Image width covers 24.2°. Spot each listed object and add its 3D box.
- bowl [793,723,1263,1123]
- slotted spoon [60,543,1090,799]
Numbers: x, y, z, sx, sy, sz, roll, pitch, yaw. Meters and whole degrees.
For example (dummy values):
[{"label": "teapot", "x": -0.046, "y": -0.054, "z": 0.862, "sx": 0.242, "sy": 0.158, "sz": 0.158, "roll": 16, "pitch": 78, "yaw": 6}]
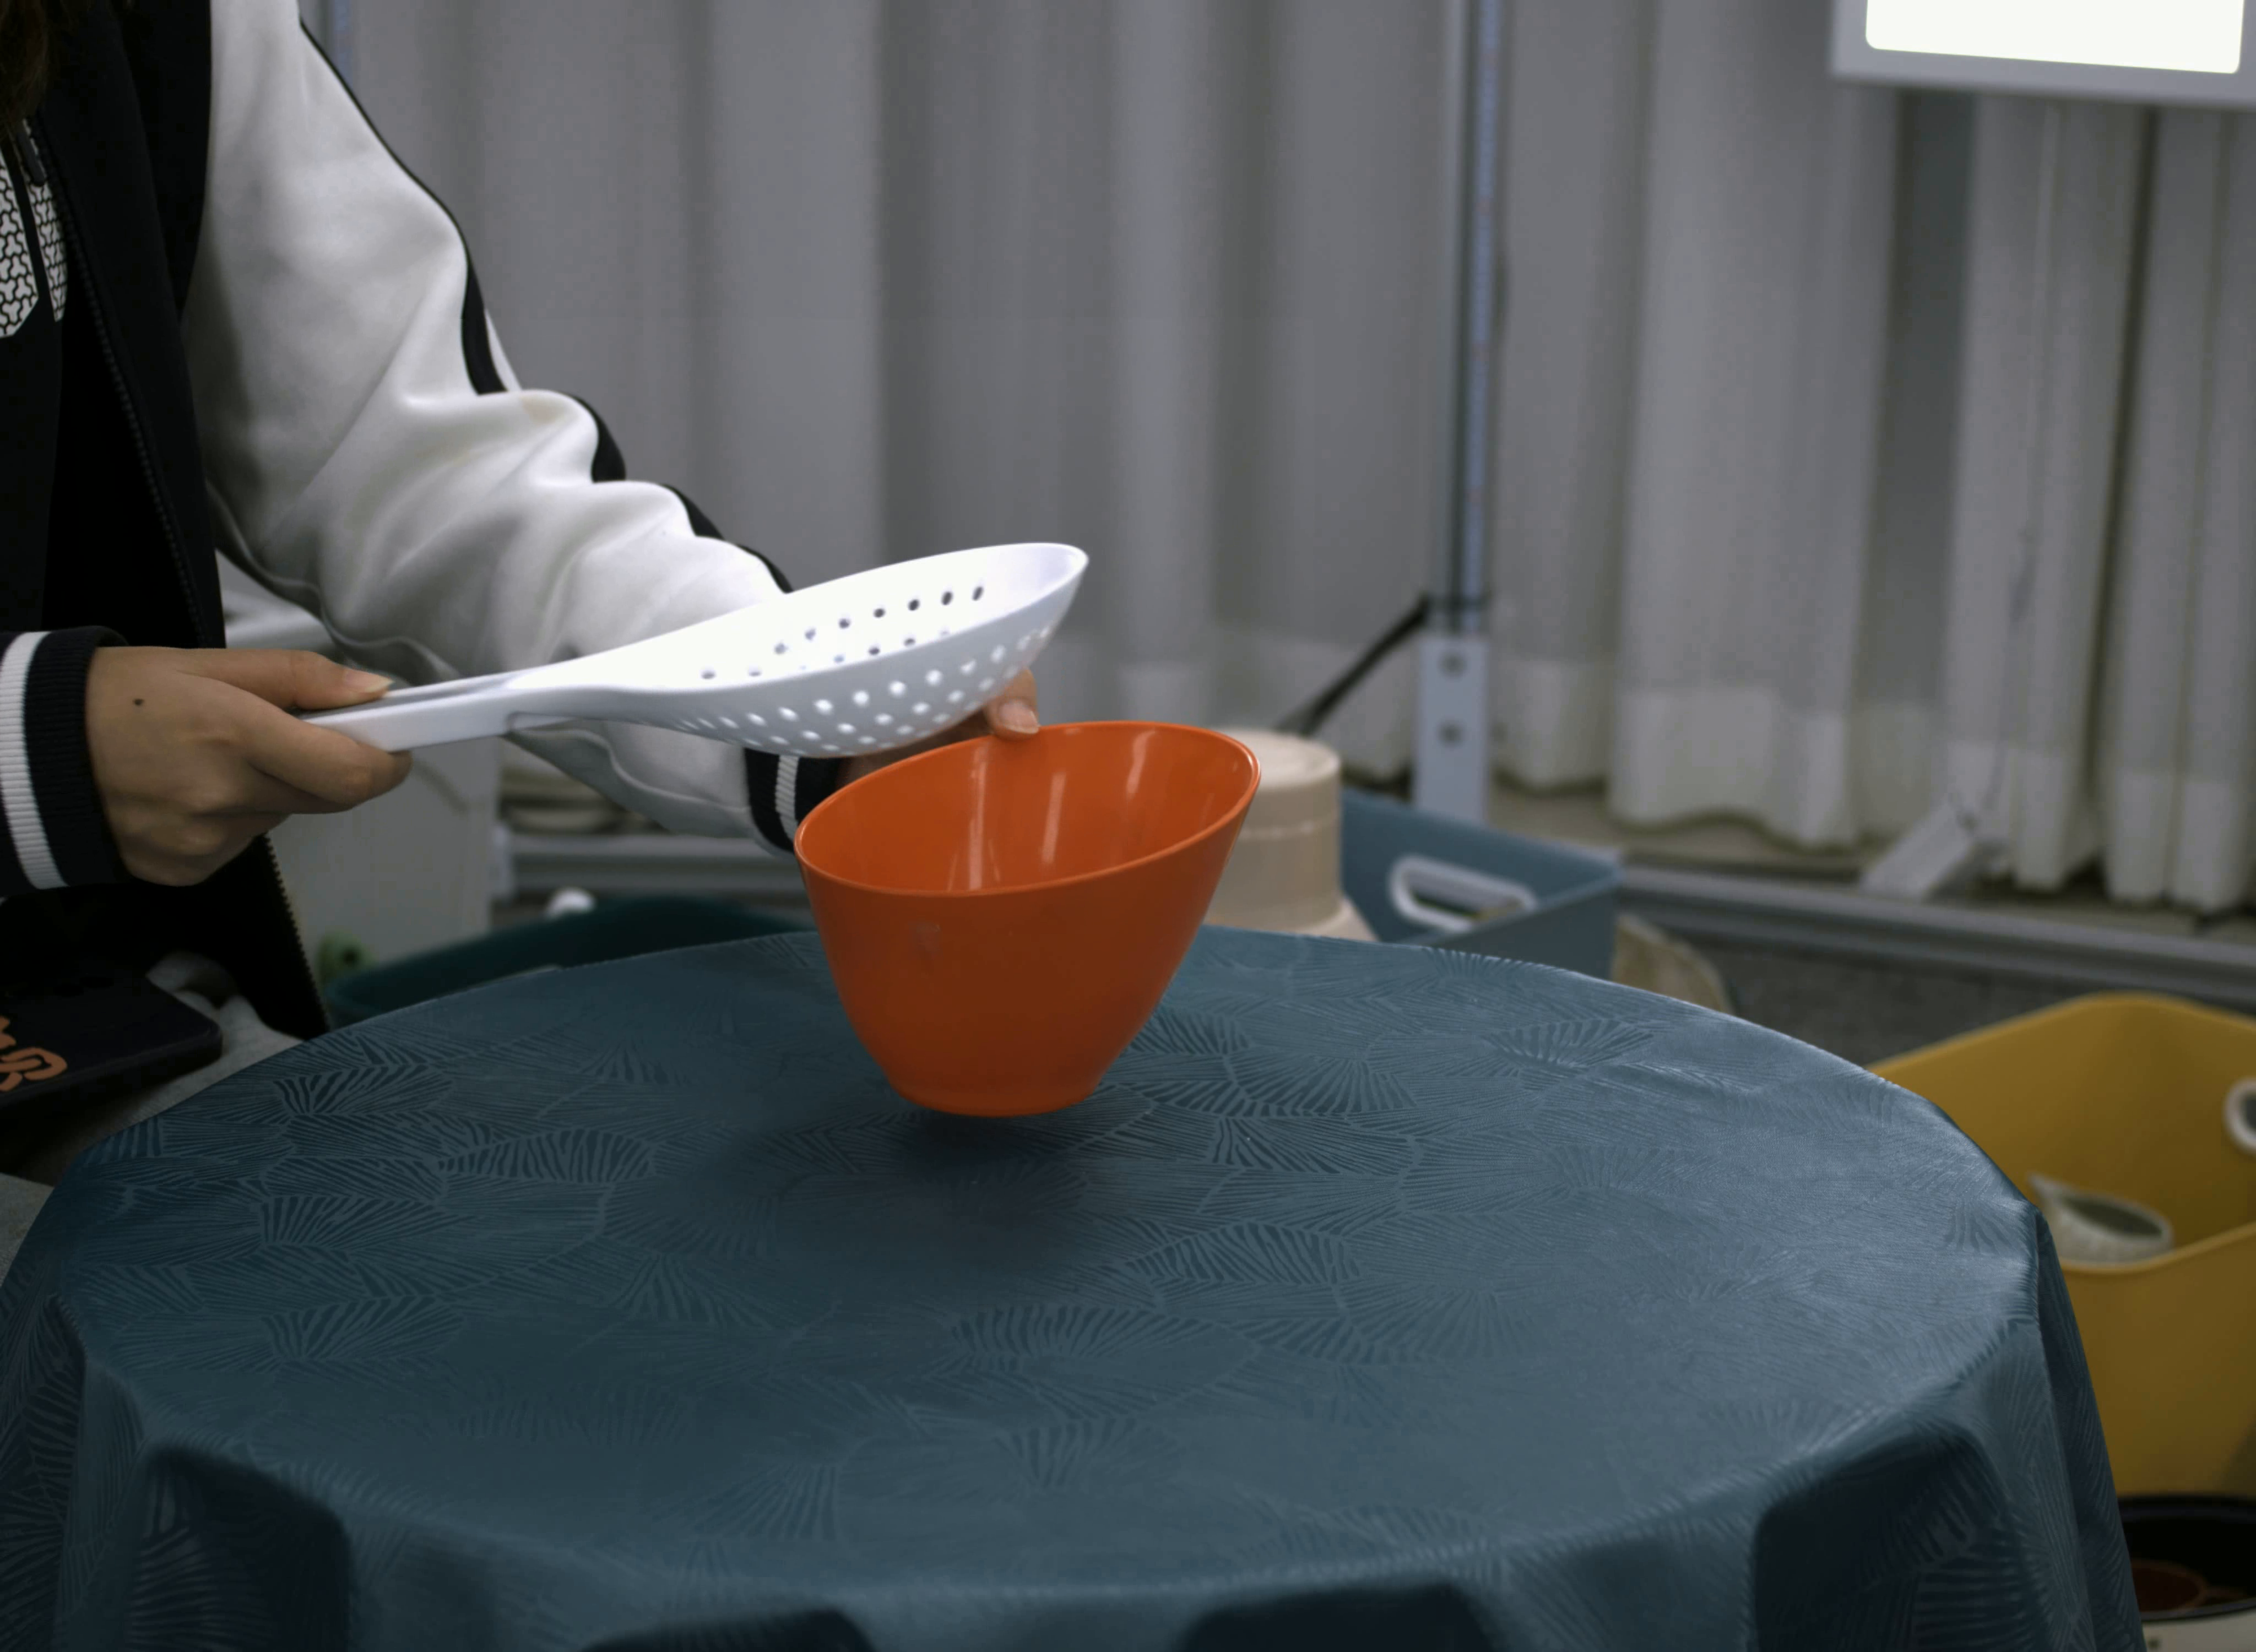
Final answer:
[{"label": "bowl", "x": -0.032, "y": 0.033, "z": 1.662, "sx": 0.147, "sy": 0.105, "sz": 0.147, "roll": 1, "pitch": 19, "yaw": 0}, {"label": "slotted spoon", "x": -0.172, "y": -0.041, "z": 1.580, "sx": 0.346, "sy": 0.046, "sz": 0.136, "roll": -3, "pitch": 17, "yaw": 22}]
